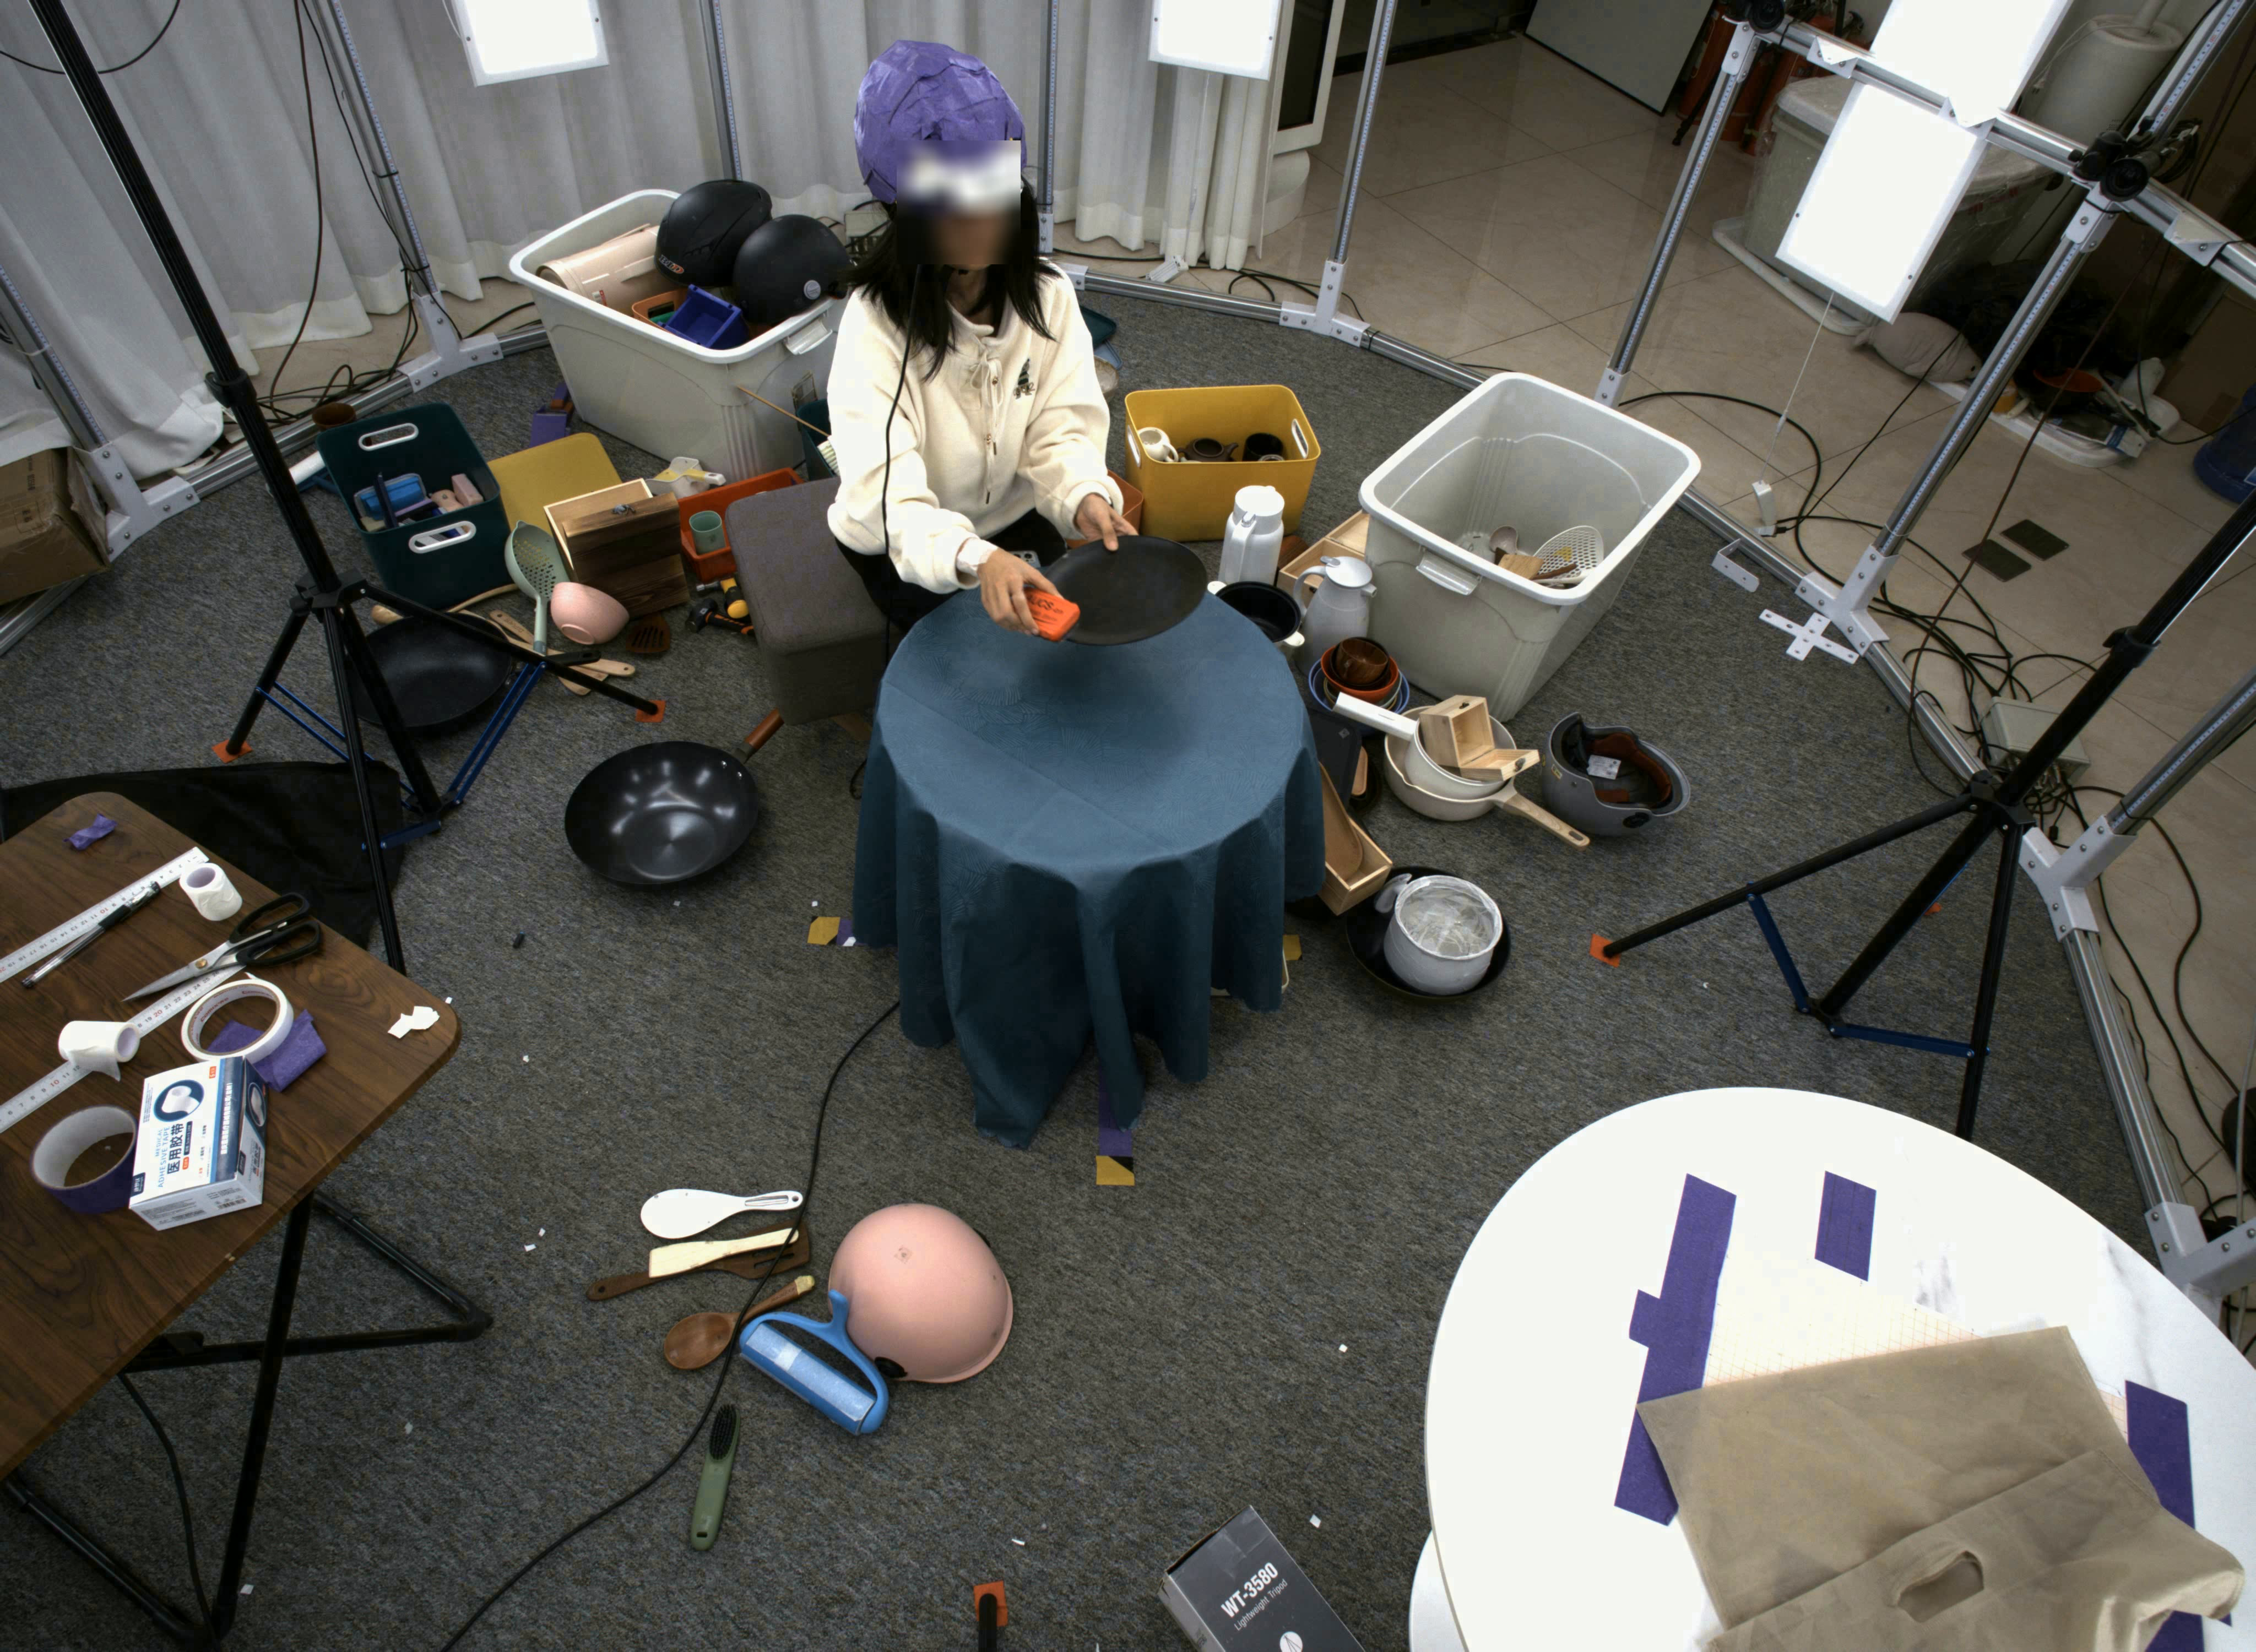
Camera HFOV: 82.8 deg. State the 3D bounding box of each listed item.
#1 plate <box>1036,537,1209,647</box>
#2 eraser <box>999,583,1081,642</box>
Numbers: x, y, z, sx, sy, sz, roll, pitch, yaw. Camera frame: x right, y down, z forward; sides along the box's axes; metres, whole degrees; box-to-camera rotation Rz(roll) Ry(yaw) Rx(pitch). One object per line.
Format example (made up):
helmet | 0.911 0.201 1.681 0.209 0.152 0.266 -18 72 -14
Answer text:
plate | -0.008 -0.319 1.770 0.244 0.023 0.250 -6 45 6
eraser | -0.118 -0.288 1.729 0.109 0.022 0.059 28 70 36
